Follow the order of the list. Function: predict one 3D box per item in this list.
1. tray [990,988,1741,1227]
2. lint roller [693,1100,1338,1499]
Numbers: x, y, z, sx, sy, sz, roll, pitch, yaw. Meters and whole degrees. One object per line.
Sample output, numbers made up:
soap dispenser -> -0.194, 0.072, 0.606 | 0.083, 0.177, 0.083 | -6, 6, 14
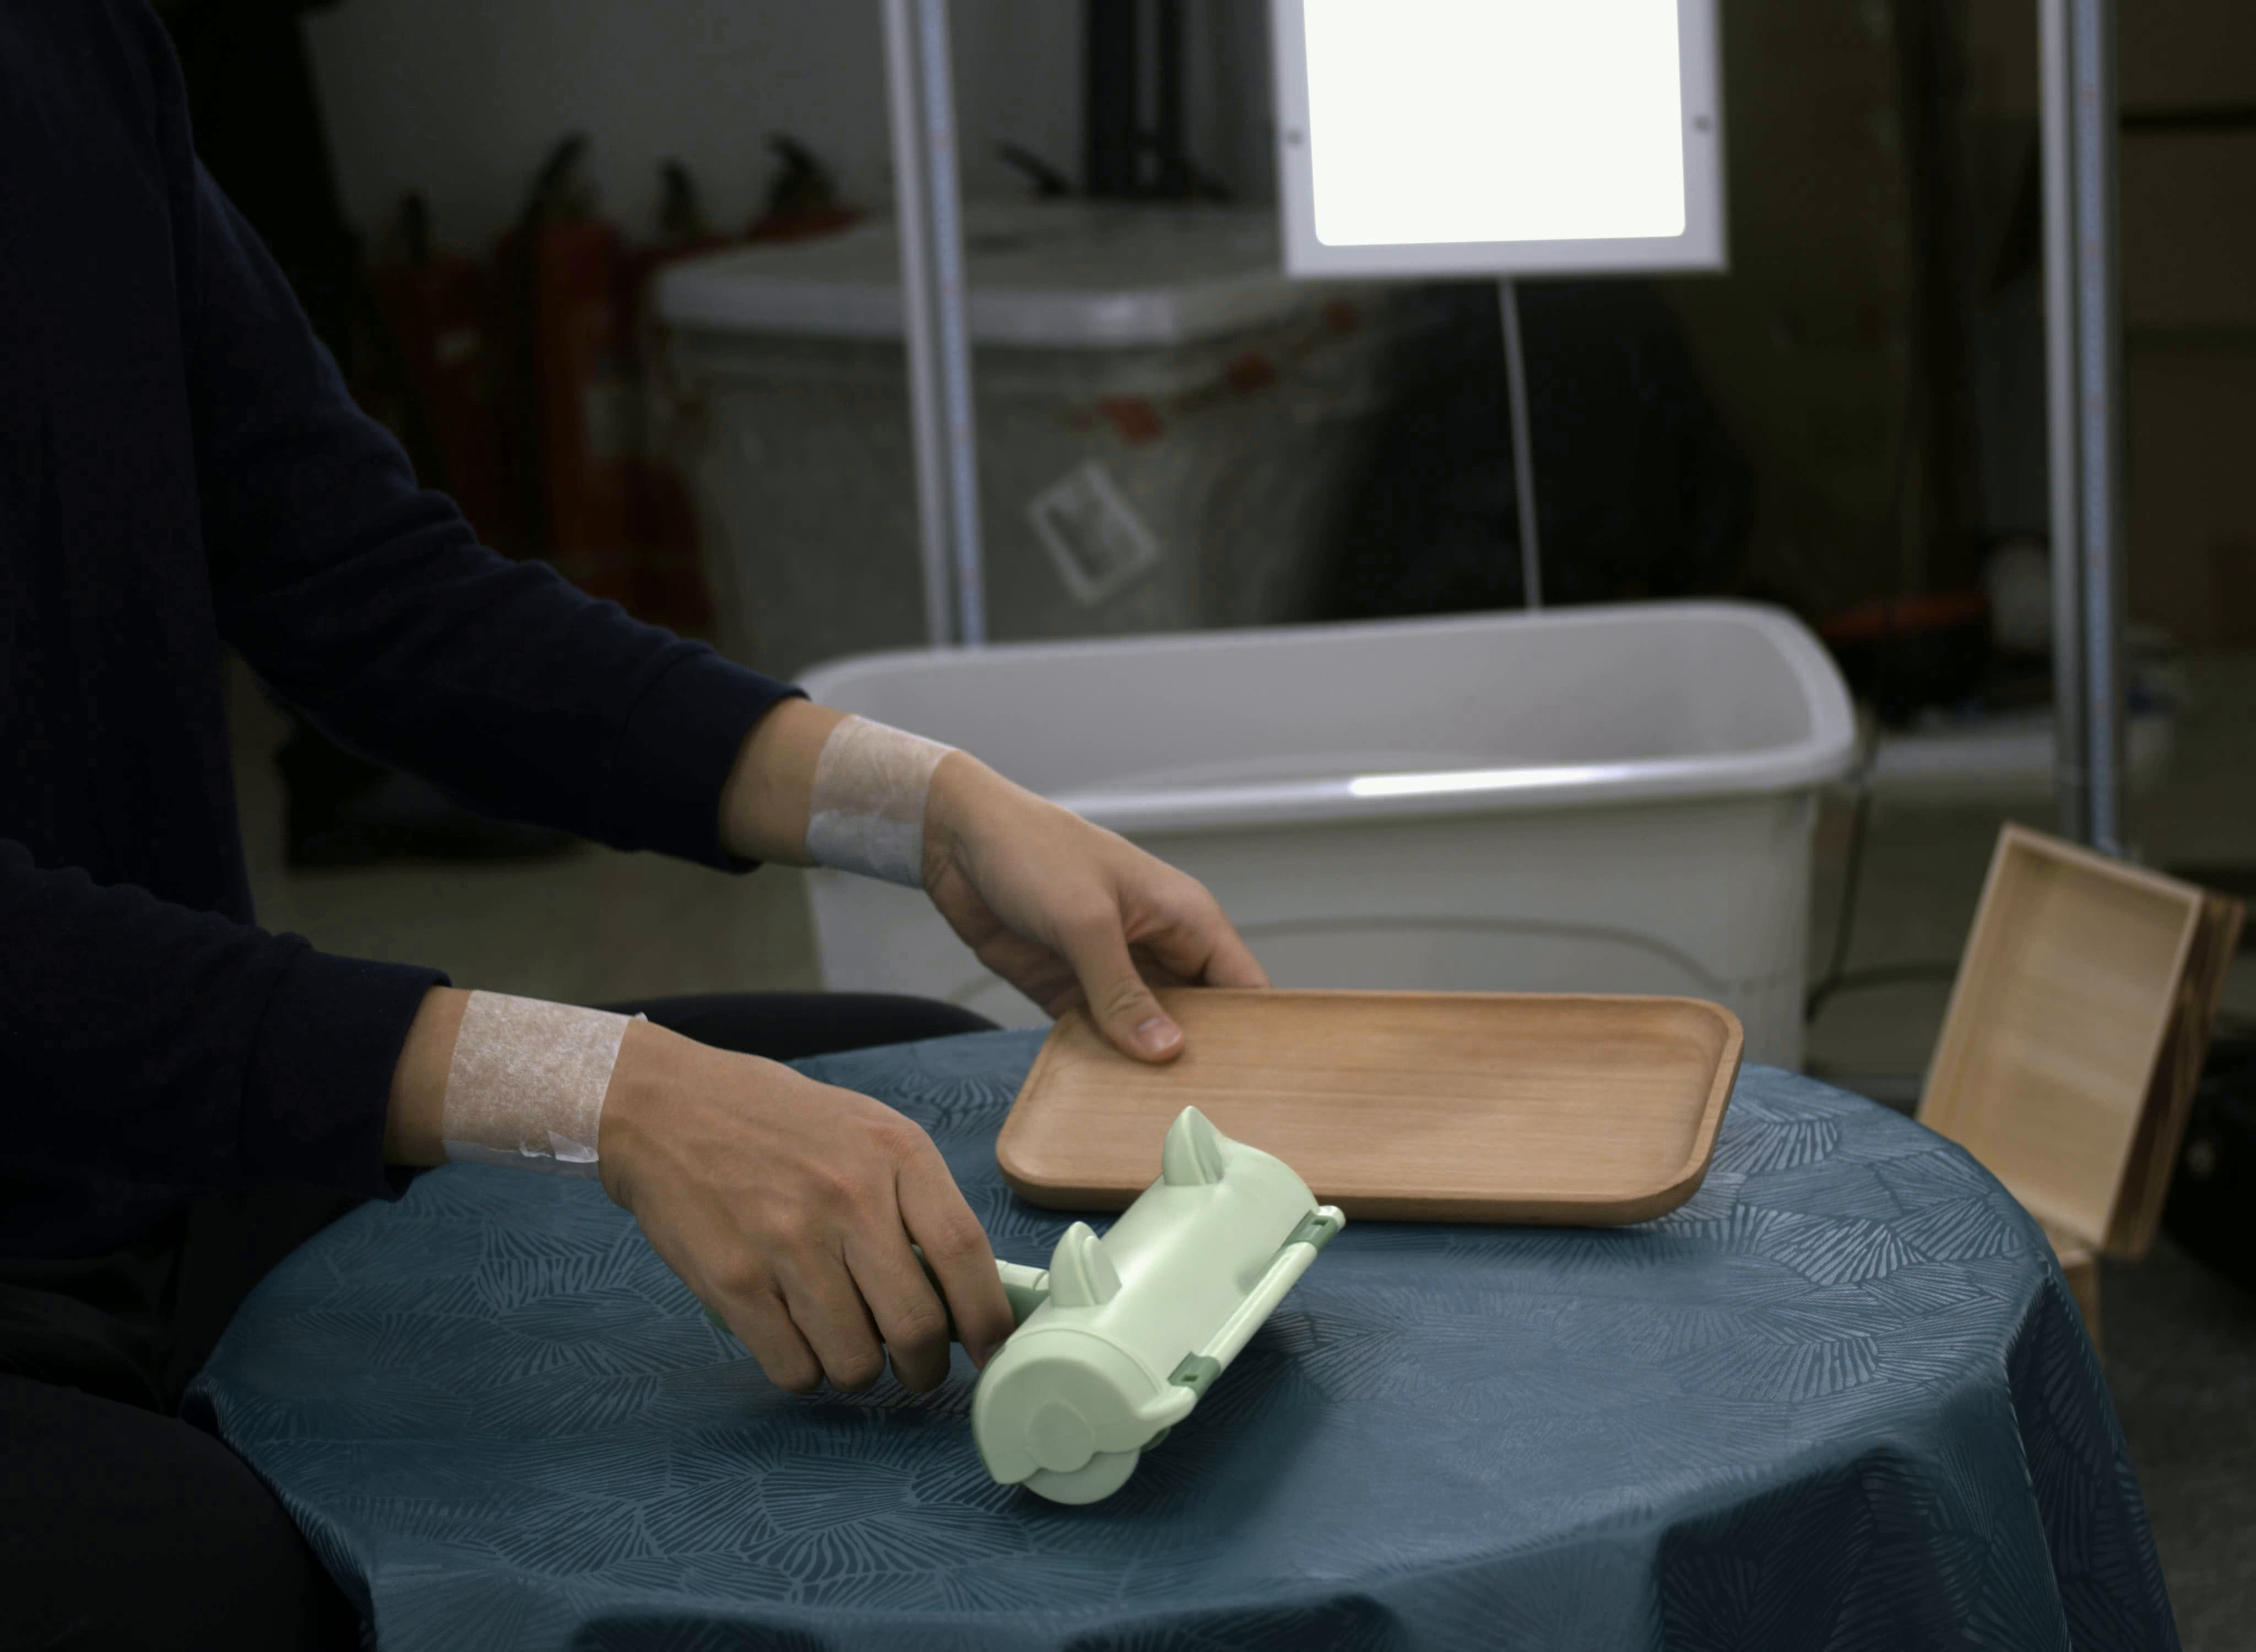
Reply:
tray -> 0.082, 0.096, 1.890 | 0.254, 0.023, 0.128 | -1, 29, 20
lint roller -> -0.044, 0.129, 1.689 | 0.185, 0.083, 0.195 | 13, 18, 15
